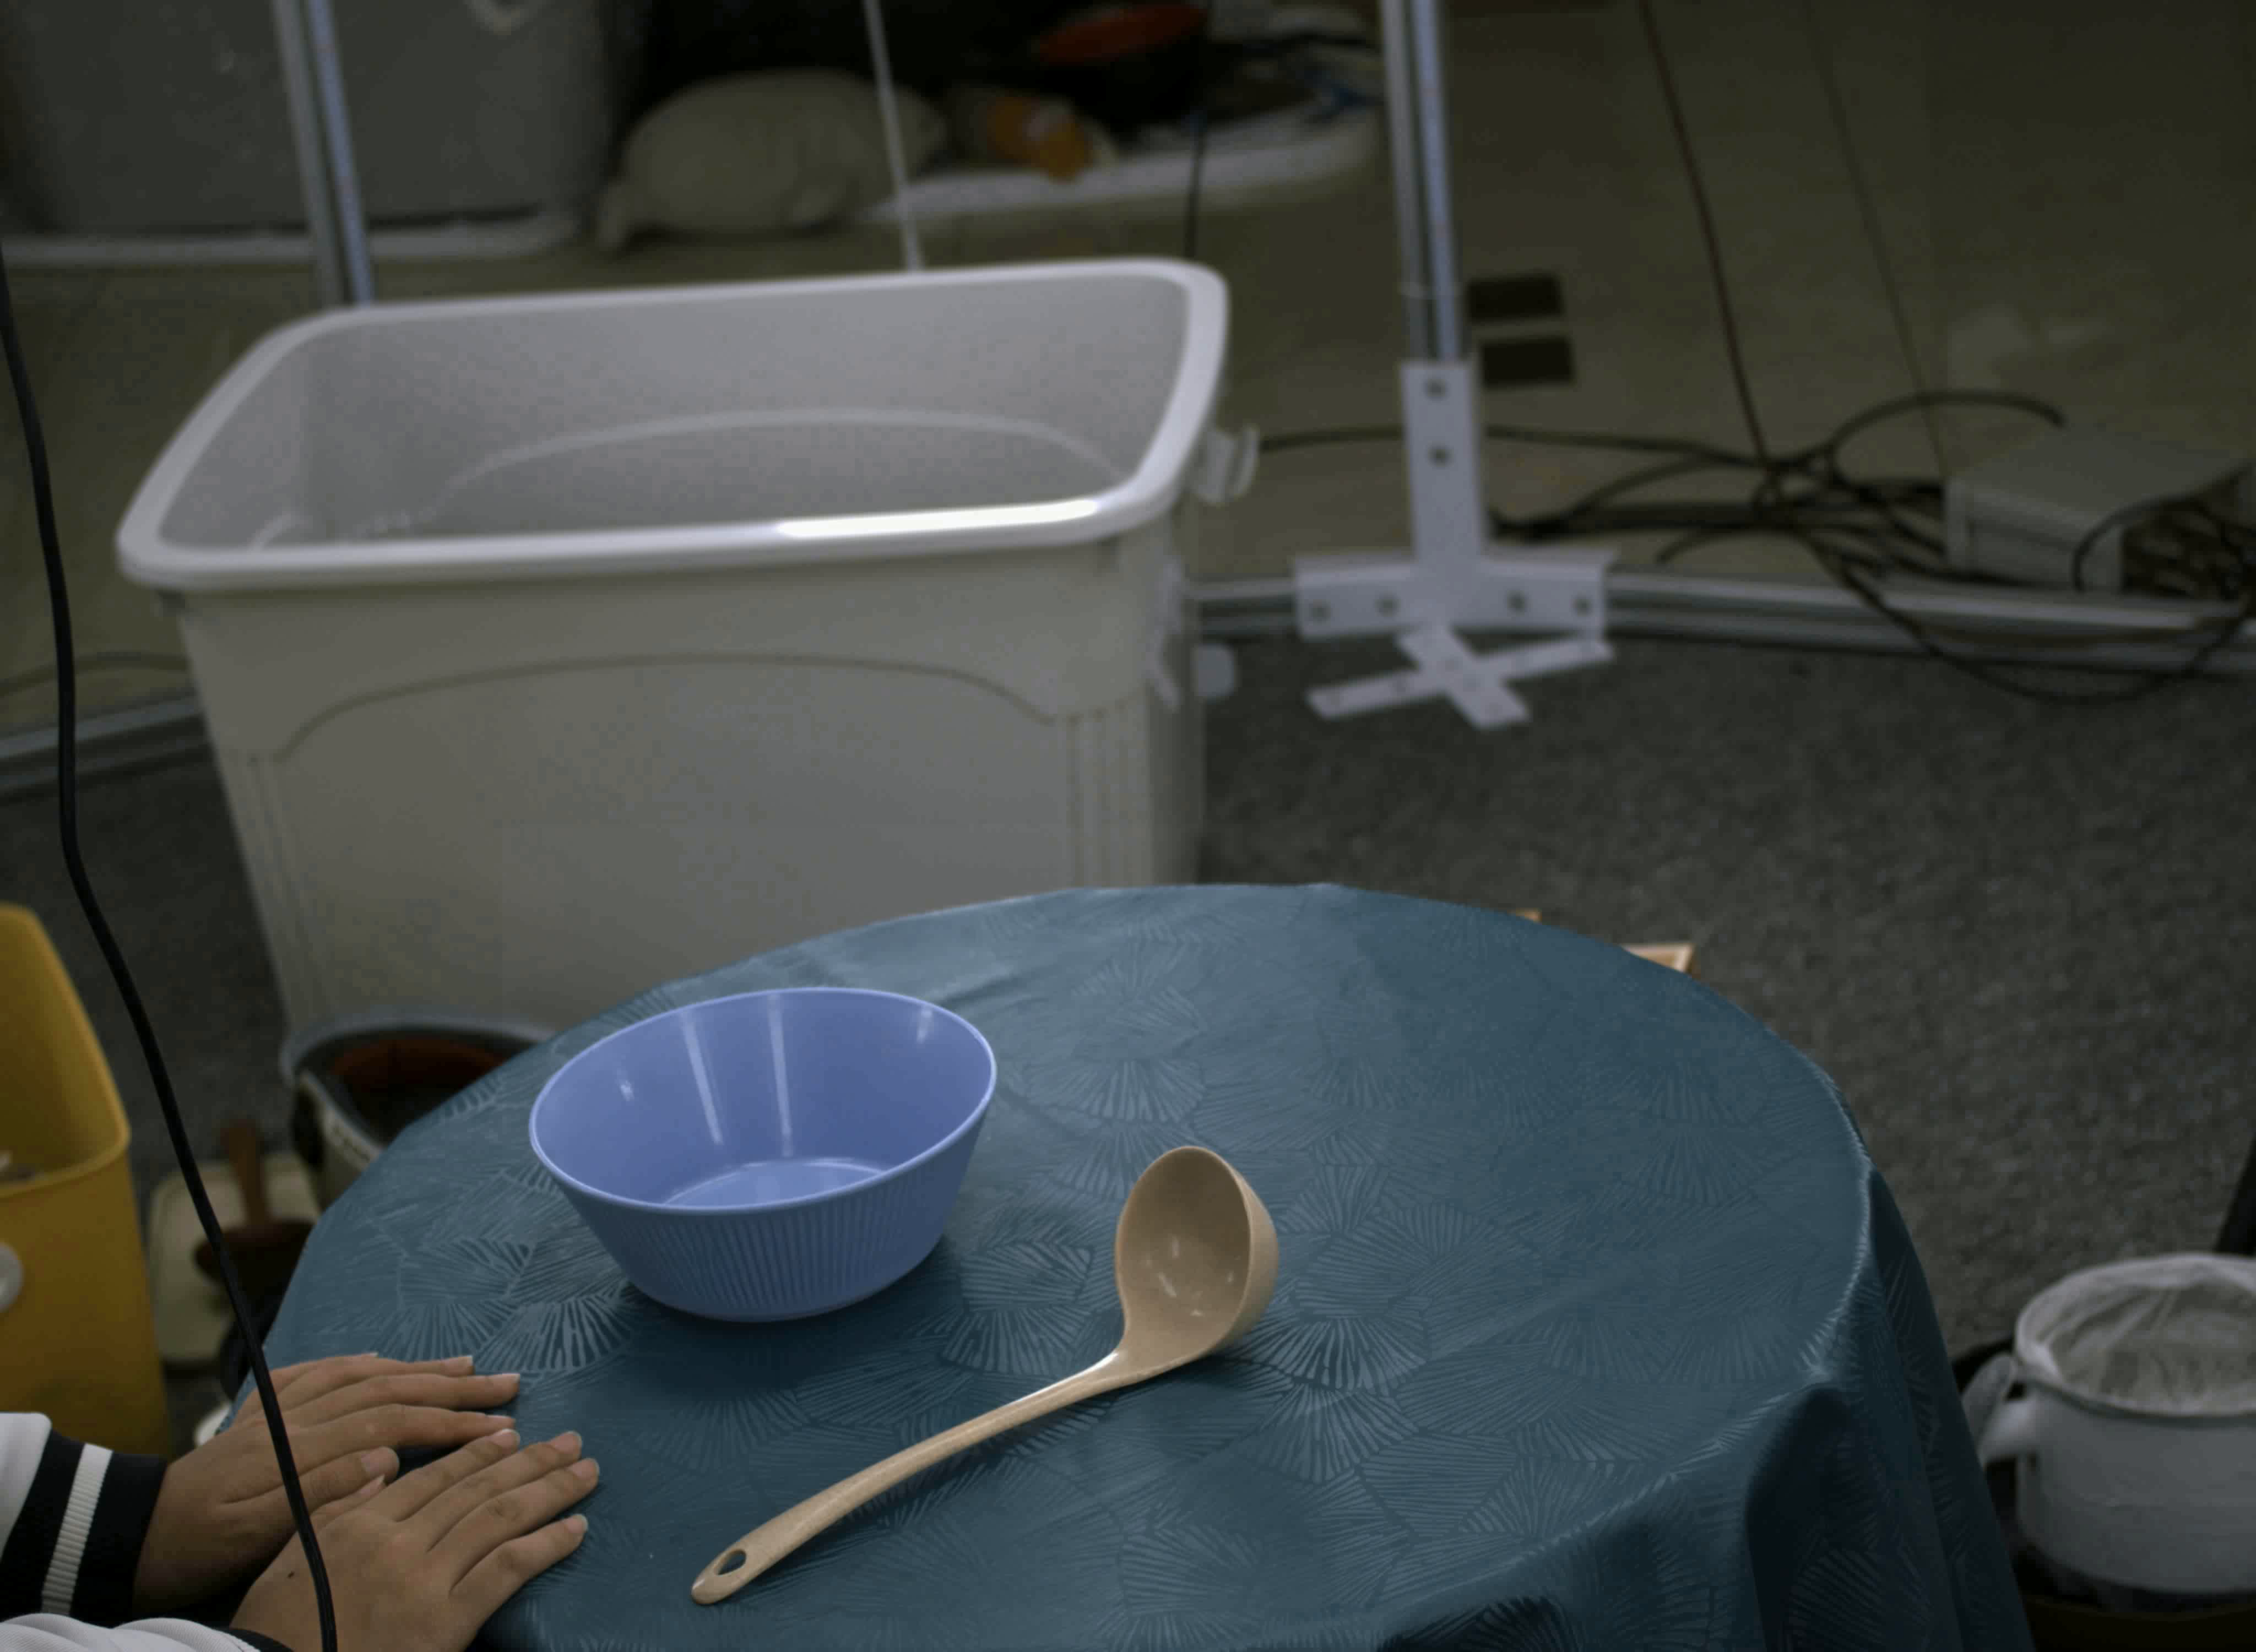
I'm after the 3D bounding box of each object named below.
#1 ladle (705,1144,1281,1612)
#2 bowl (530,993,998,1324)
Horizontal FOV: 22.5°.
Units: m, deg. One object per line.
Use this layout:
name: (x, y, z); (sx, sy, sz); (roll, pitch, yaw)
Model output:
ladle: (-0.052, 0.187, 1.970); (0.252, 0.074, 0.071); (-26, 31, -35)
bowl: (-0.132, 0.130, 2.117); (0.176, 0.071, 0.173); (-6, 24, 3)
